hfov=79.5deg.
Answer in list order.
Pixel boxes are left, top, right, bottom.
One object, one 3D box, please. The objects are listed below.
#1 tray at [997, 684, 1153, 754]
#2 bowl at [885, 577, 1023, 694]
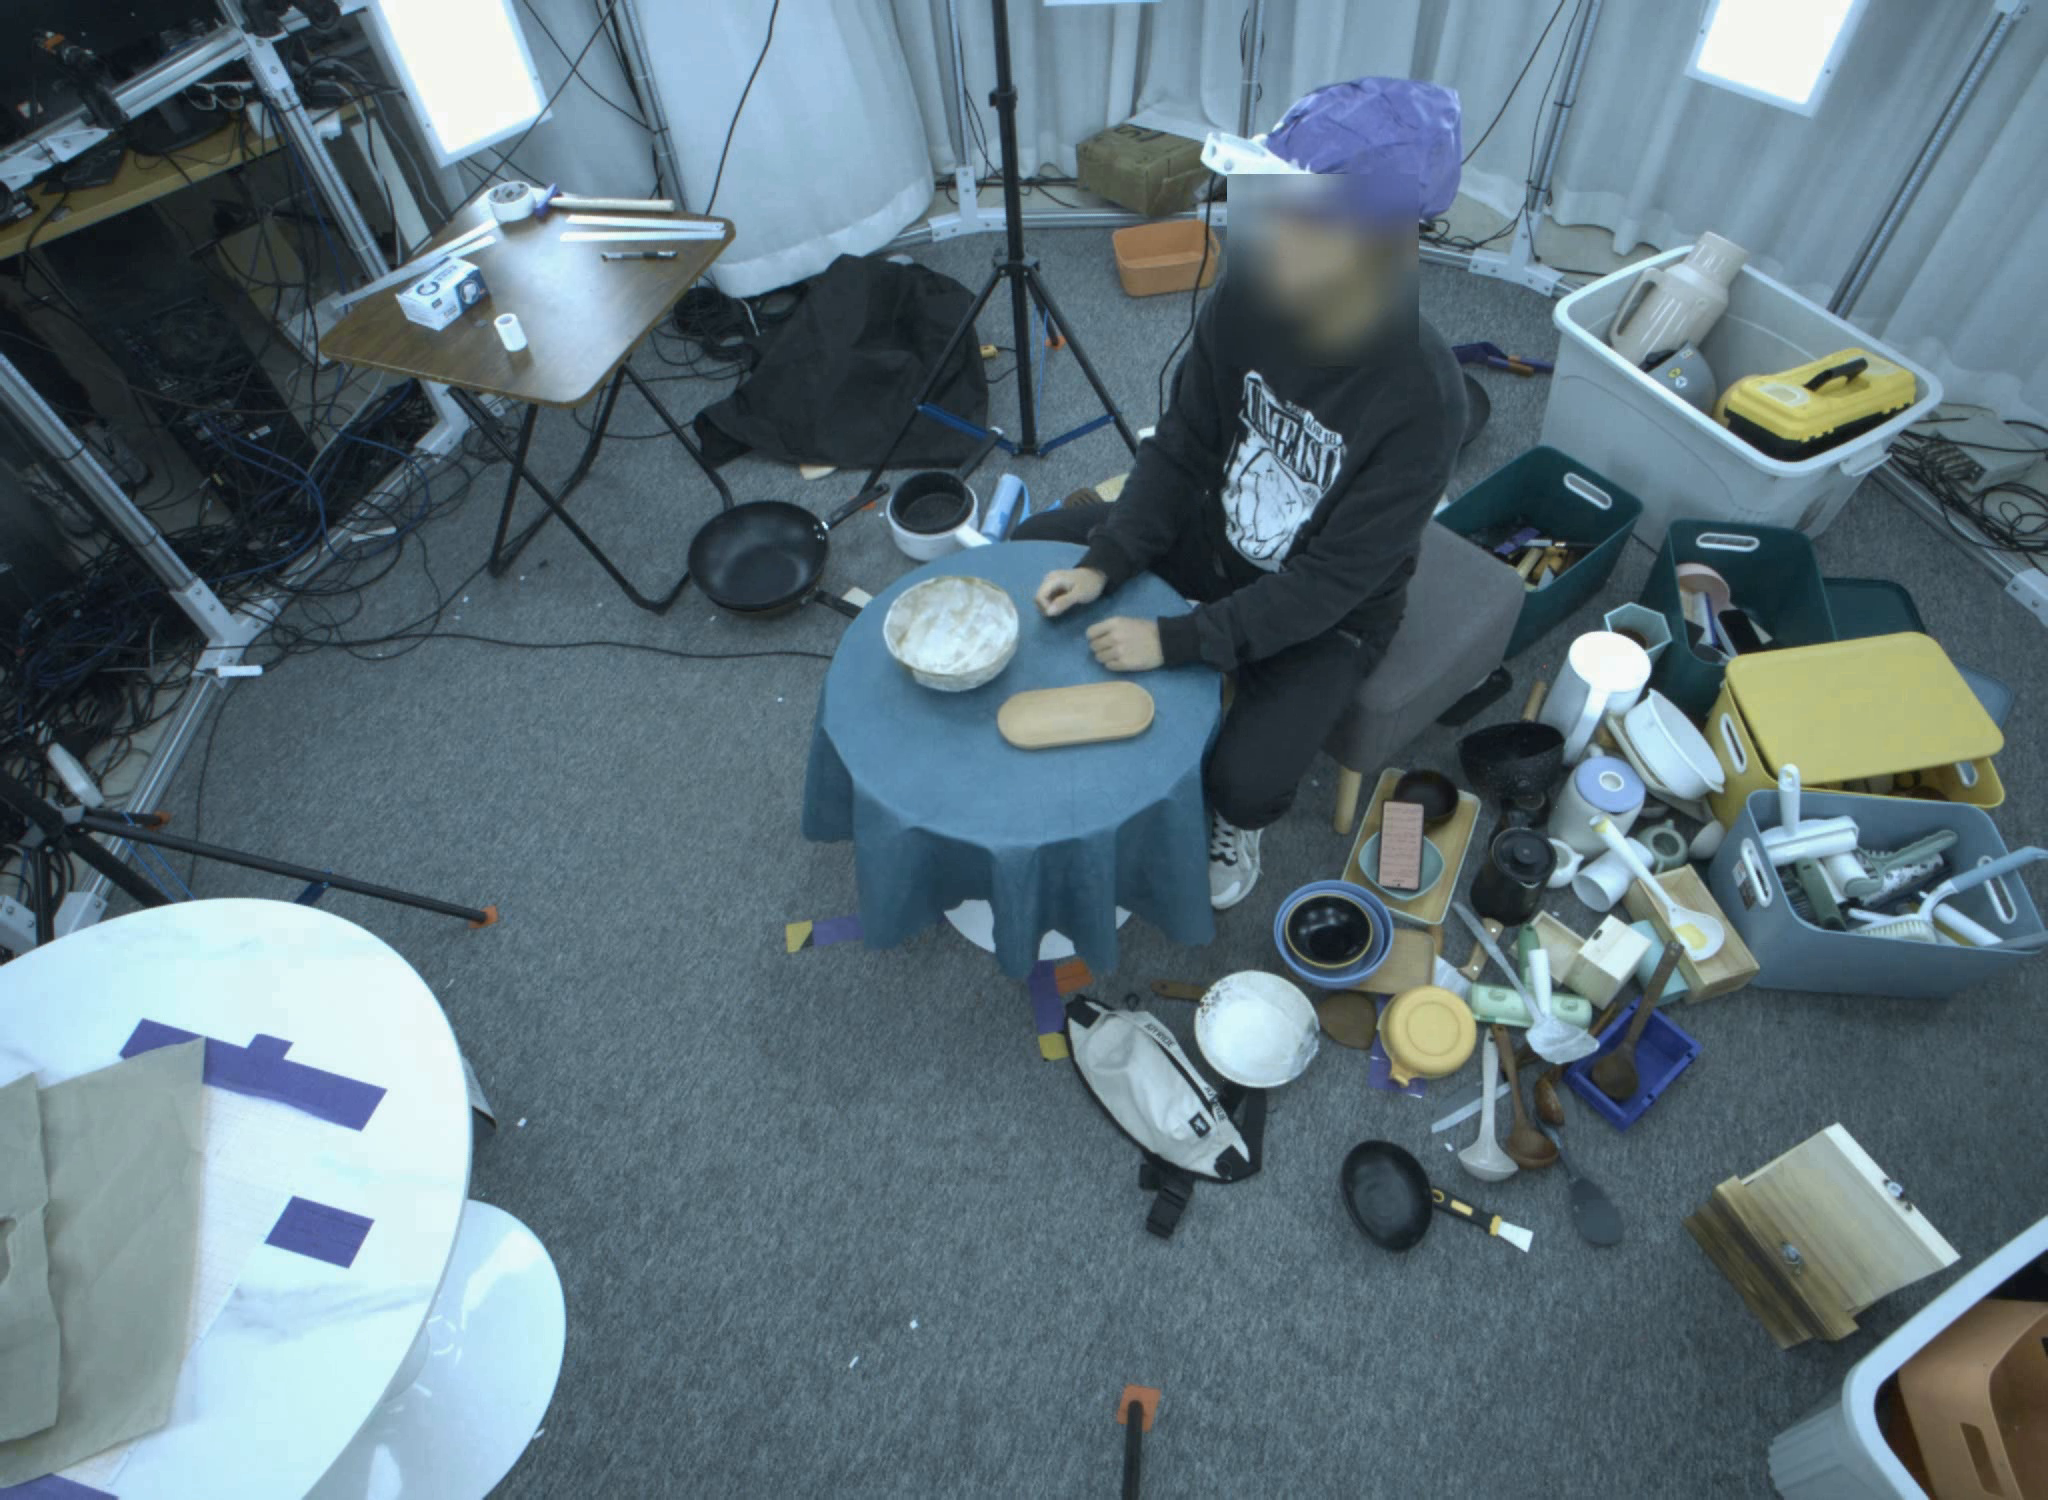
[{"bbox_3d":[0.075,-0.045,1.818,0.231,0.020,0.100,-8,53,-2],"label":"tray"},{"bbox_3d":[-0.101,-0.155,1.852,0.214,0.095,0.212,-1,53,2],"label":"bowl"}]
